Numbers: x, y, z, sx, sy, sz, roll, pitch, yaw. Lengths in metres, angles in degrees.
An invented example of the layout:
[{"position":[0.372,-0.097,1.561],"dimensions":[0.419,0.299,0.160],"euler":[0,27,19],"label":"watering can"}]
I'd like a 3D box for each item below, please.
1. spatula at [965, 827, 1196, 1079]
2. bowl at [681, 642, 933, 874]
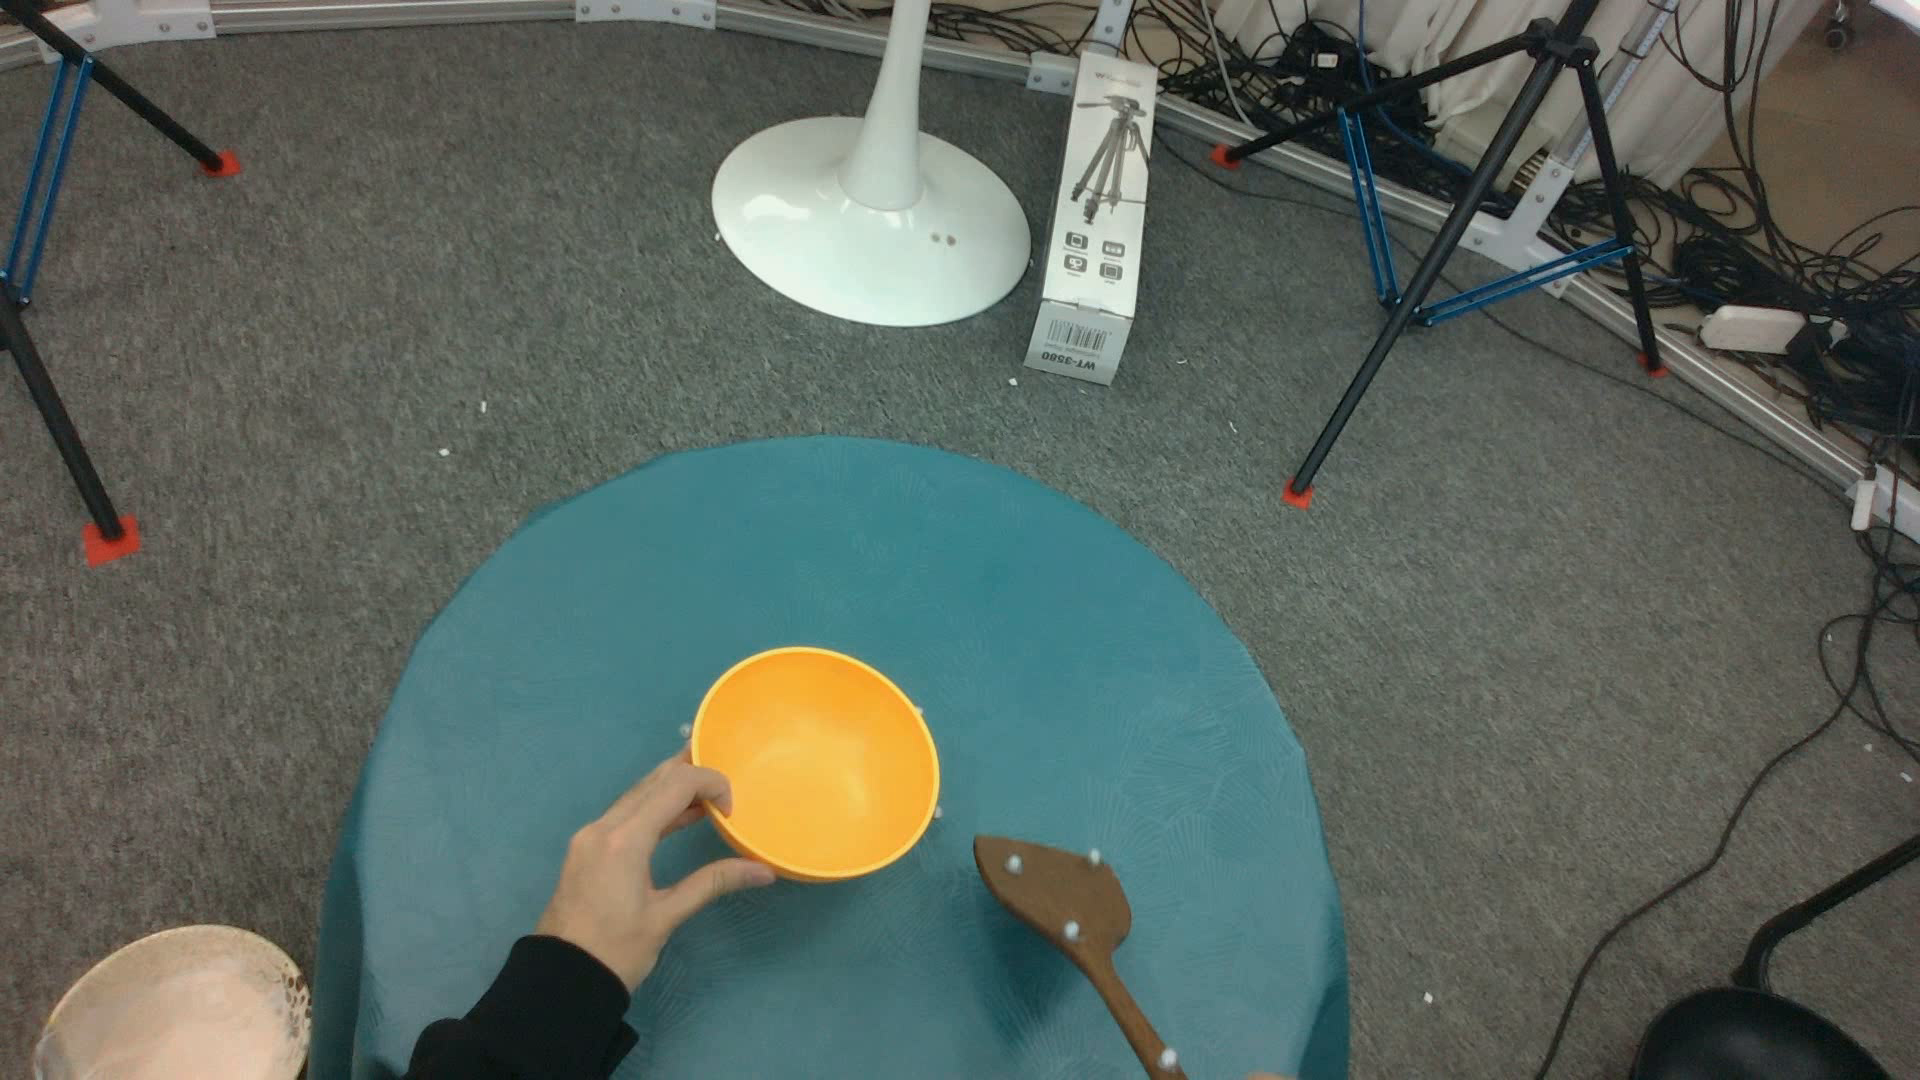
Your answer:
[{"position":[0.087,0.234,0.659],"dimensions":[0.096,0.016,0.386],"euler":[16,11,-19],"label":"spatula"},{"position":[-0.093,0.134,0.794],"dimensions":[0.145,0.060,0.146],"euler":[13,49,-15],"label":"bowl"}]
